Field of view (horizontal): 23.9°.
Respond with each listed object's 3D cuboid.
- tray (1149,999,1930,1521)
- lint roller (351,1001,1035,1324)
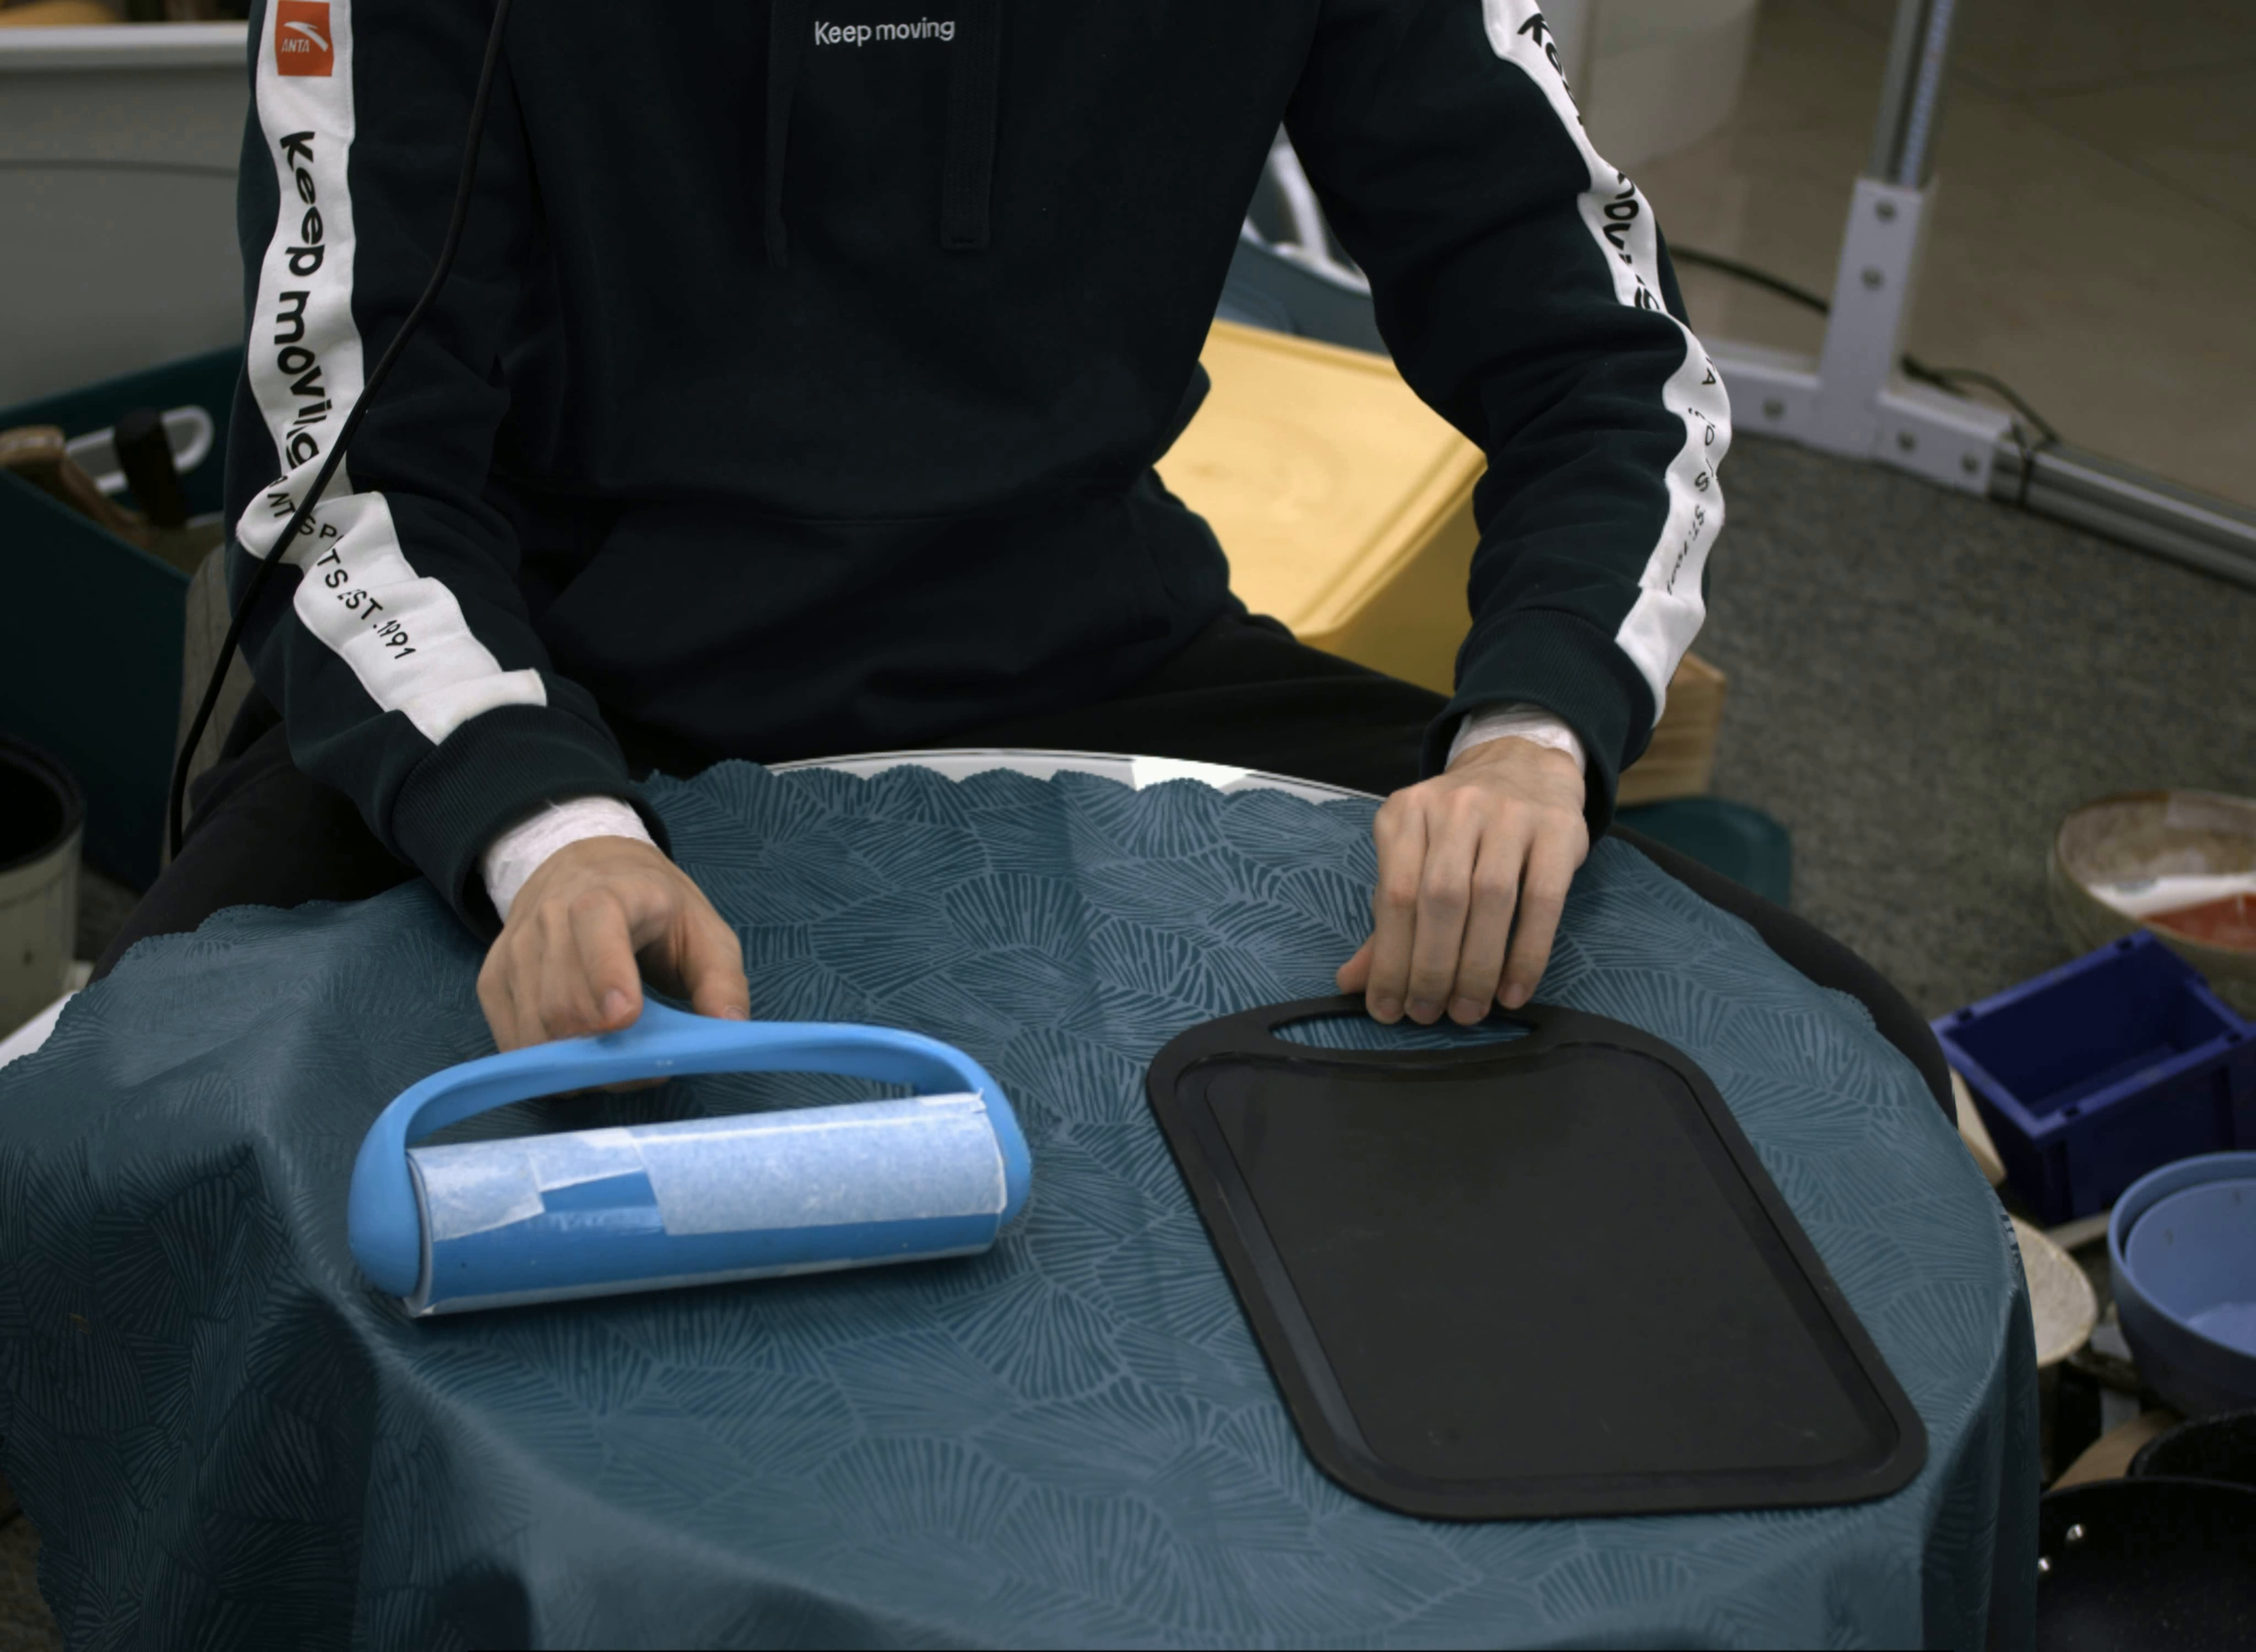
[{"bbox_3d":[0.129,0.138,1.792,0.210,0.010,0.328,-1,27,-13],"label":"tray"},{"bbox_3d":[-0.162,0.093,1.760,0.227,0.067,0.182,-8,31,-23],"label":"lint roller"}]
